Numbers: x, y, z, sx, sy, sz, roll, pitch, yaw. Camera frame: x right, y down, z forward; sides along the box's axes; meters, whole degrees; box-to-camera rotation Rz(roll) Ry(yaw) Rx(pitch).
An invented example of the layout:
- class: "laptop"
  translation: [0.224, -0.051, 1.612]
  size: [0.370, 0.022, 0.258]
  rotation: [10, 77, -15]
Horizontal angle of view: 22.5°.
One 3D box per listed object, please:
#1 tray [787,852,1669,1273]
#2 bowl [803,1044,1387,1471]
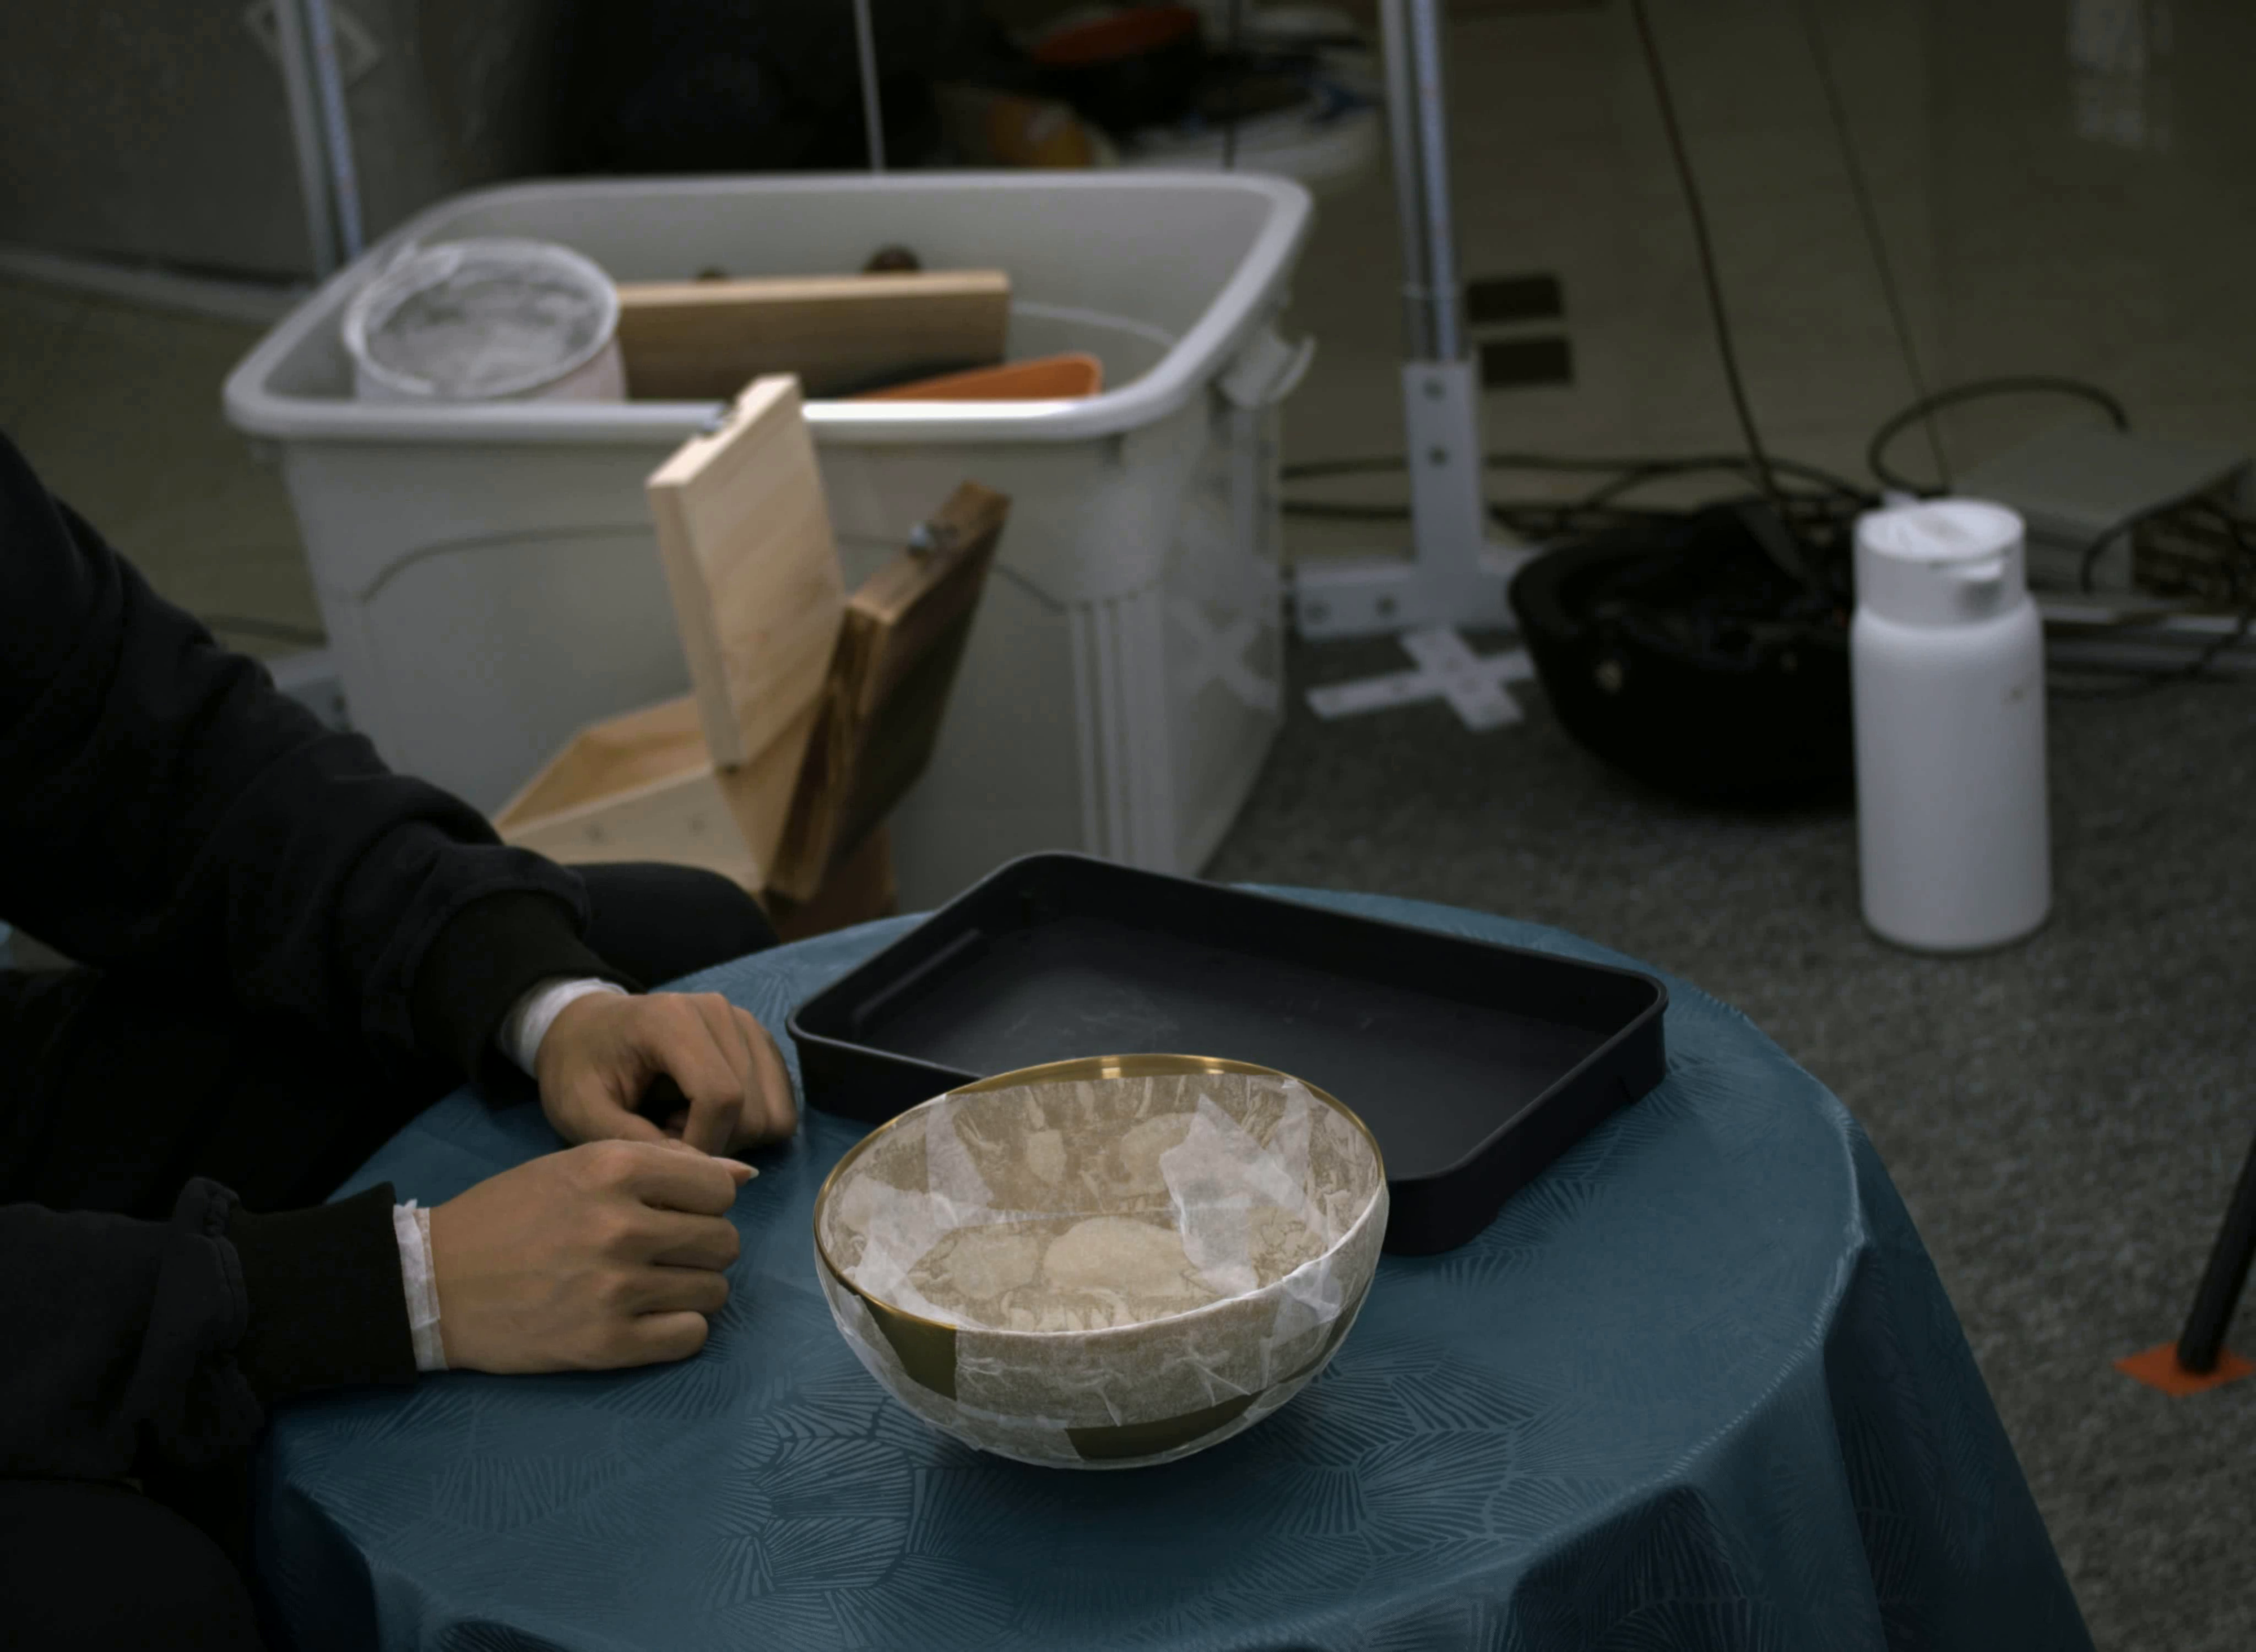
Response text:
- class: "tray"
  translation: [0.037, 0.088, 2.217]
  size: [0.316, 0.037, 0.182]
  rotation: [14, 31, 35]
- class: "bowl"
  translation: [-0.006, 0.163, 1.991]
  size: [0.214, 0.096, 0.211]
  rotation: [-6, 26, 3]
